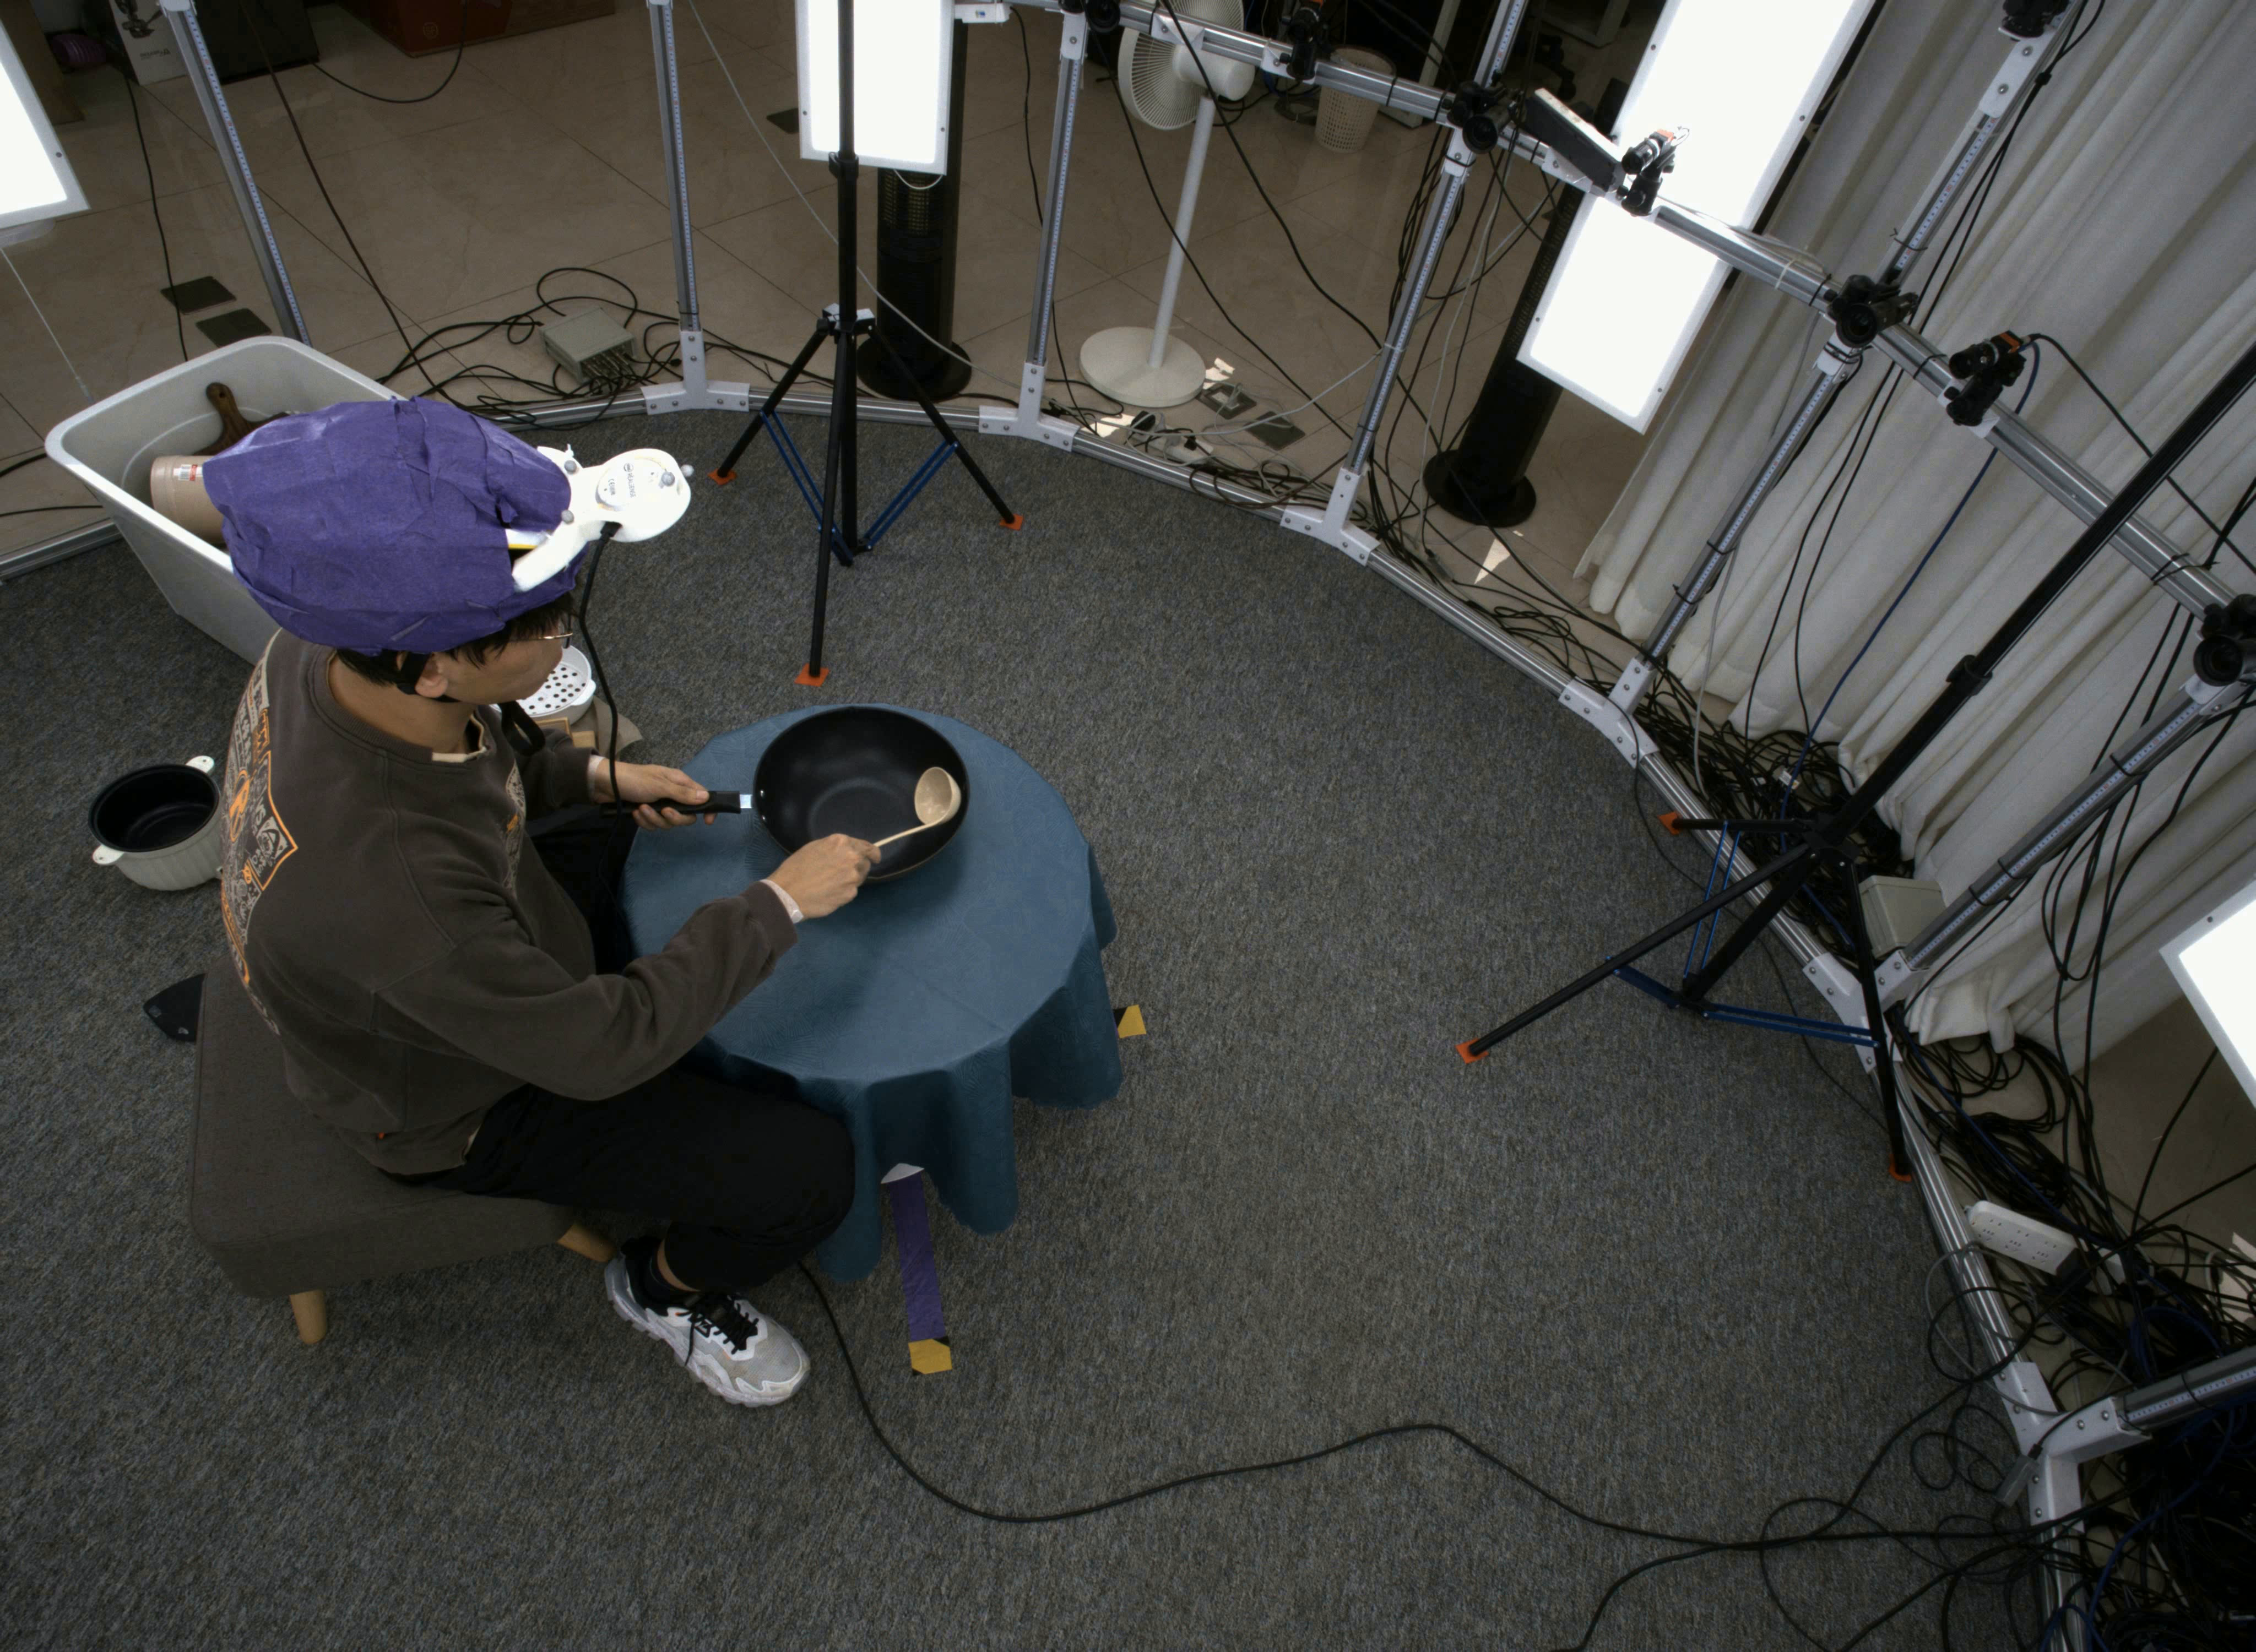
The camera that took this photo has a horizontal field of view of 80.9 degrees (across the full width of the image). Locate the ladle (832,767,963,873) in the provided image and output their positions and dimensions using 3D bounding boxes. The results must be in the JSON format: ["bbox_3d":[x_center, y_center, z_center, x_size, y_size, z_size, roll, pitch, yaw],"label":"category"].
[{"bbox_3d":[-0.294,-0.013,1.603,0.256,0.070,0.074,-29,101,-59],"label":"ladle"}]

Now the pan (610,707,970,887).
[{"bbox_3d":[-0.436,-0.018,1.695,0.464,0.088,0.281,-5,56,-16],"label":"pan"}]
